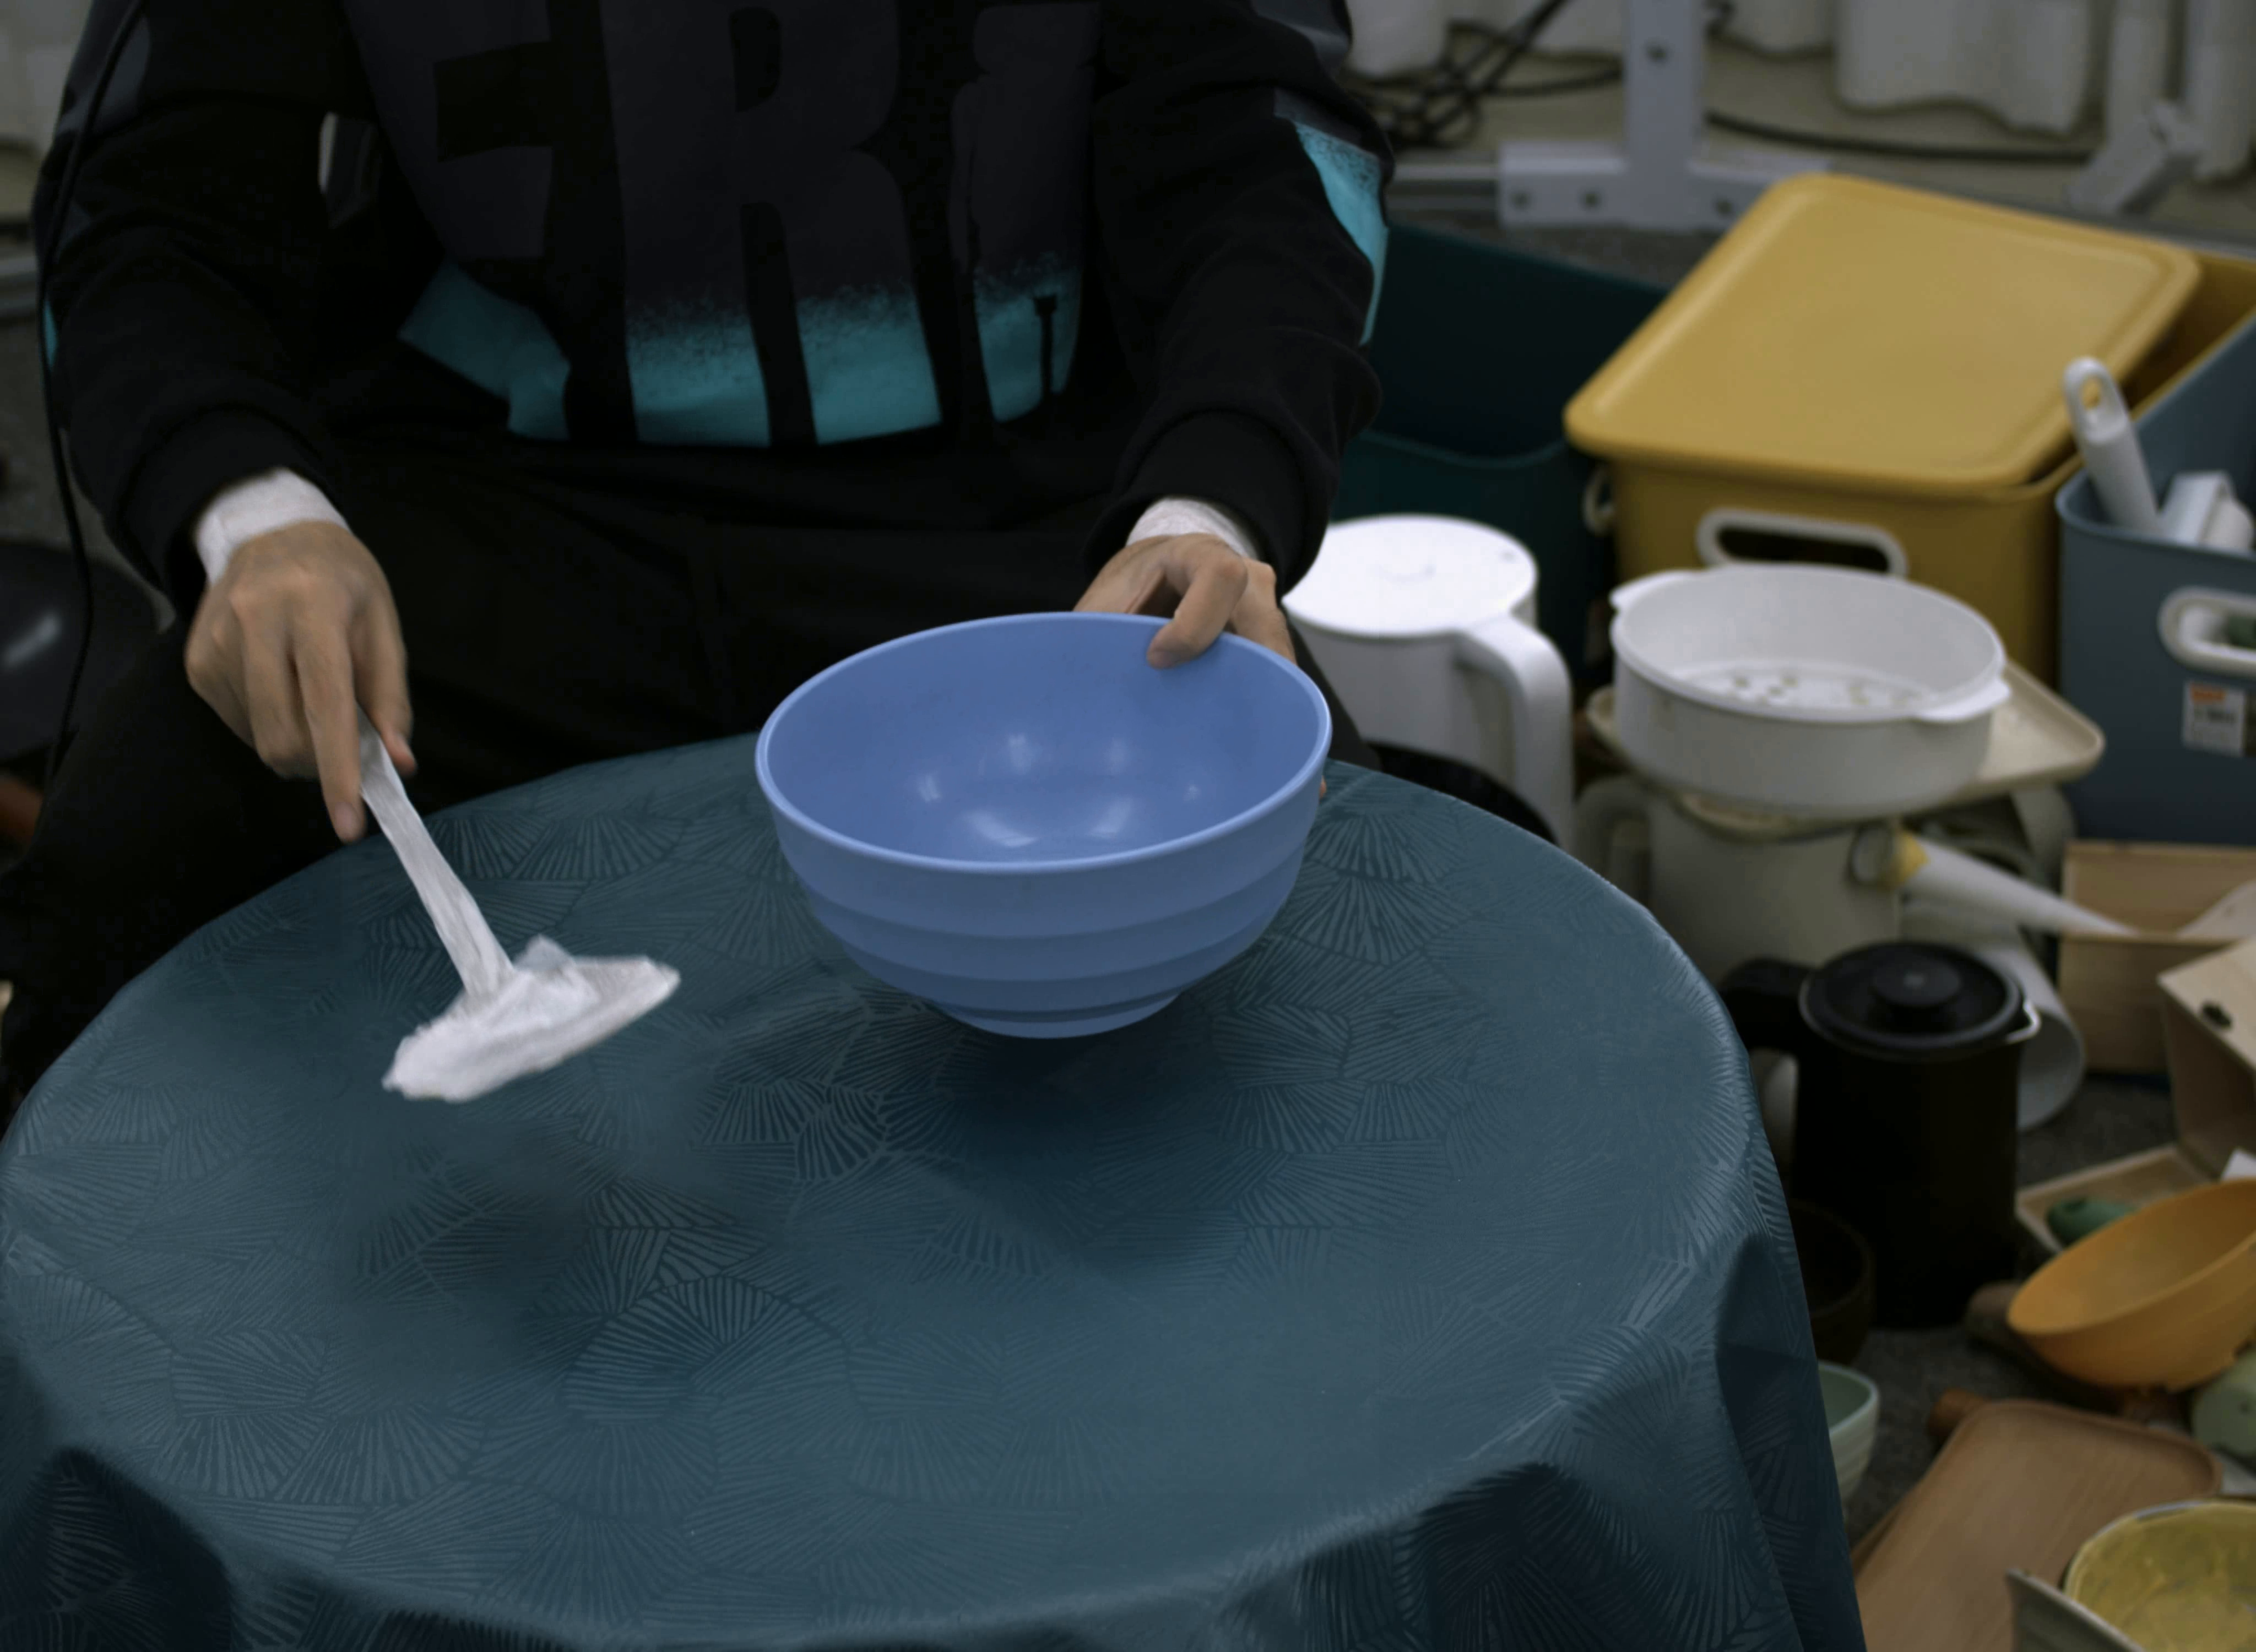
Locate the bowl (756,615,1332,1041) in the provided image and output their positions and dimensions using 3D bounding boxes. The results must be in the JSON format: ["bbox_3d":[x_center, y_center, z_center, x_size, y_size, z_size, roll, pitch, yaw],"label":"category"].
[{"bbox_3d":[-0.025,0.010,1.921,0.195,0.094,0.199,-3,26,2],"label":"bowl"}]

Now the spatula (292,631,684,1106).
[{"bbox_3d":[-0.242,0.004,1.937,0.099,0.044,0.368,-24,36,-11],"label":"spatula"}]
